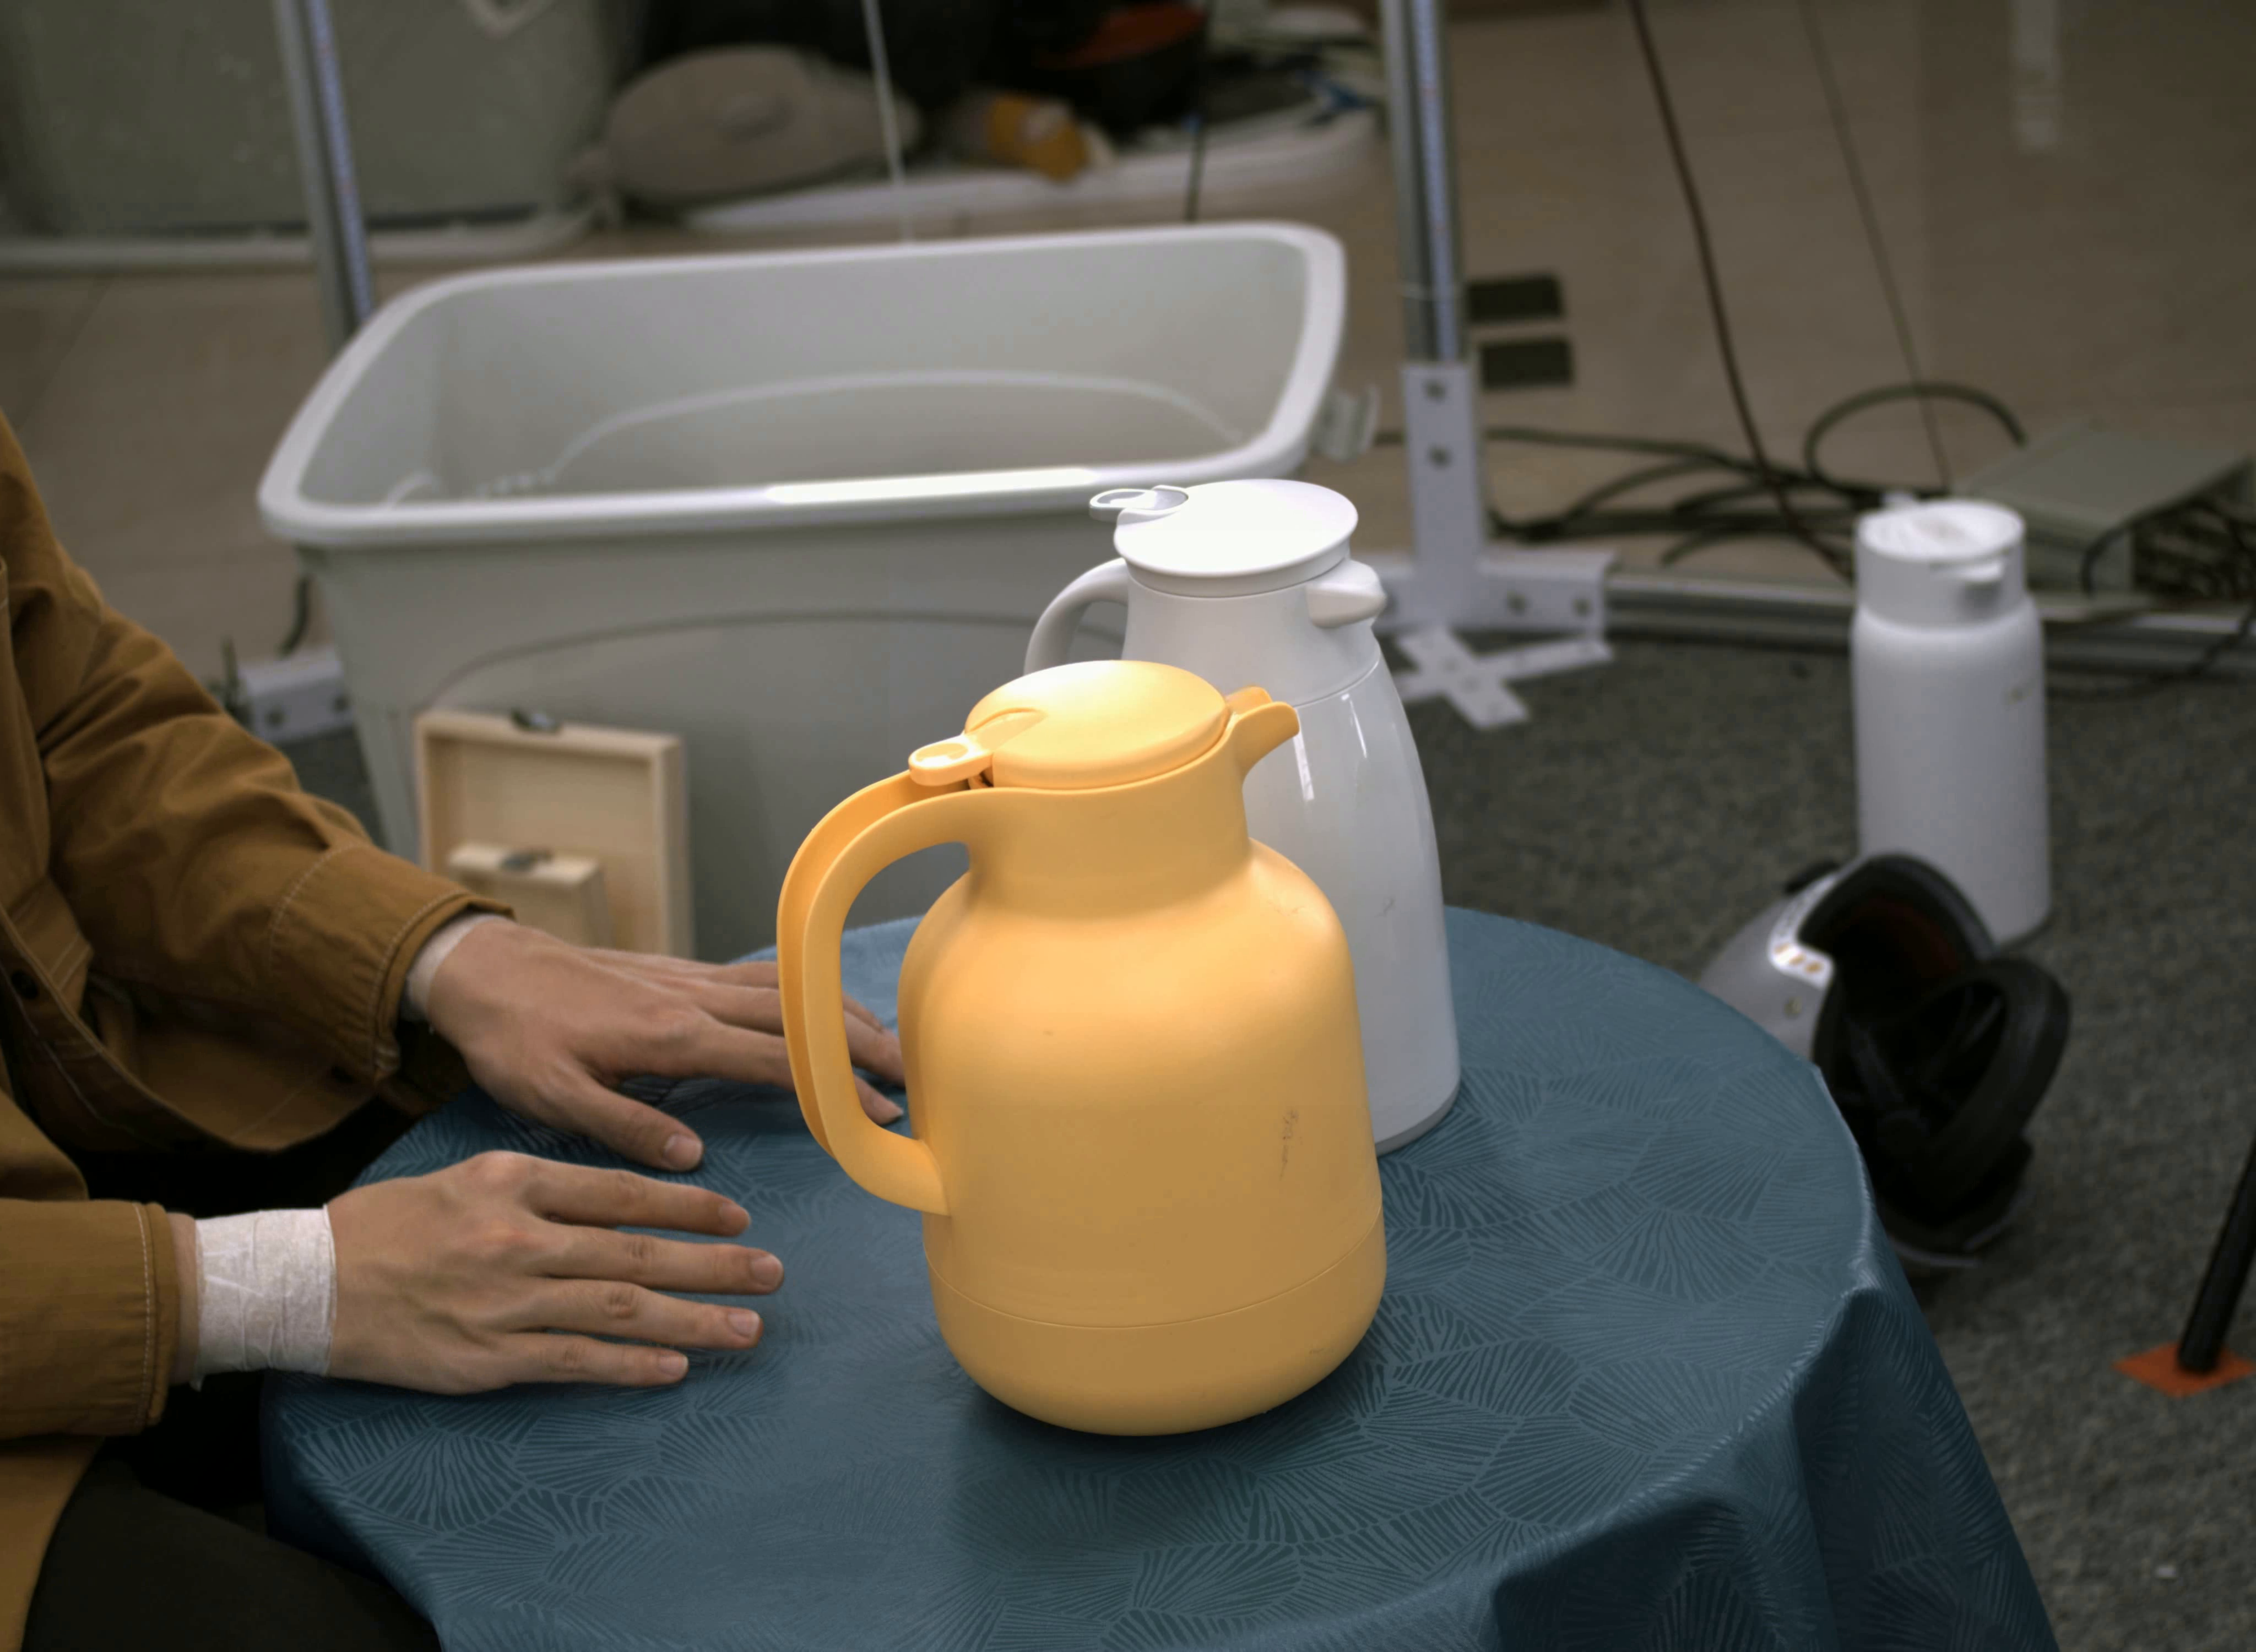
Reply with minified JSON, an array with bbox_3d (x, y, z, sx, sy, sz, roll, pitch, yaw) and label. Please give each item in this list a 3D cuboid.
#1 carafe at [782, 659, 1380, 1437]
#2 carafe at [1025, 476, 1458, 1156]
[{"bbox_3d":[-0.018,0.077,1.975,0.201,0.264,0.161,-14,24,-18],"label":"carafe"},{"bbox_3d":[0.035,-0.010,2.161,0.167,0.252,0.131,11,31,33],"label":"carafe"}]
